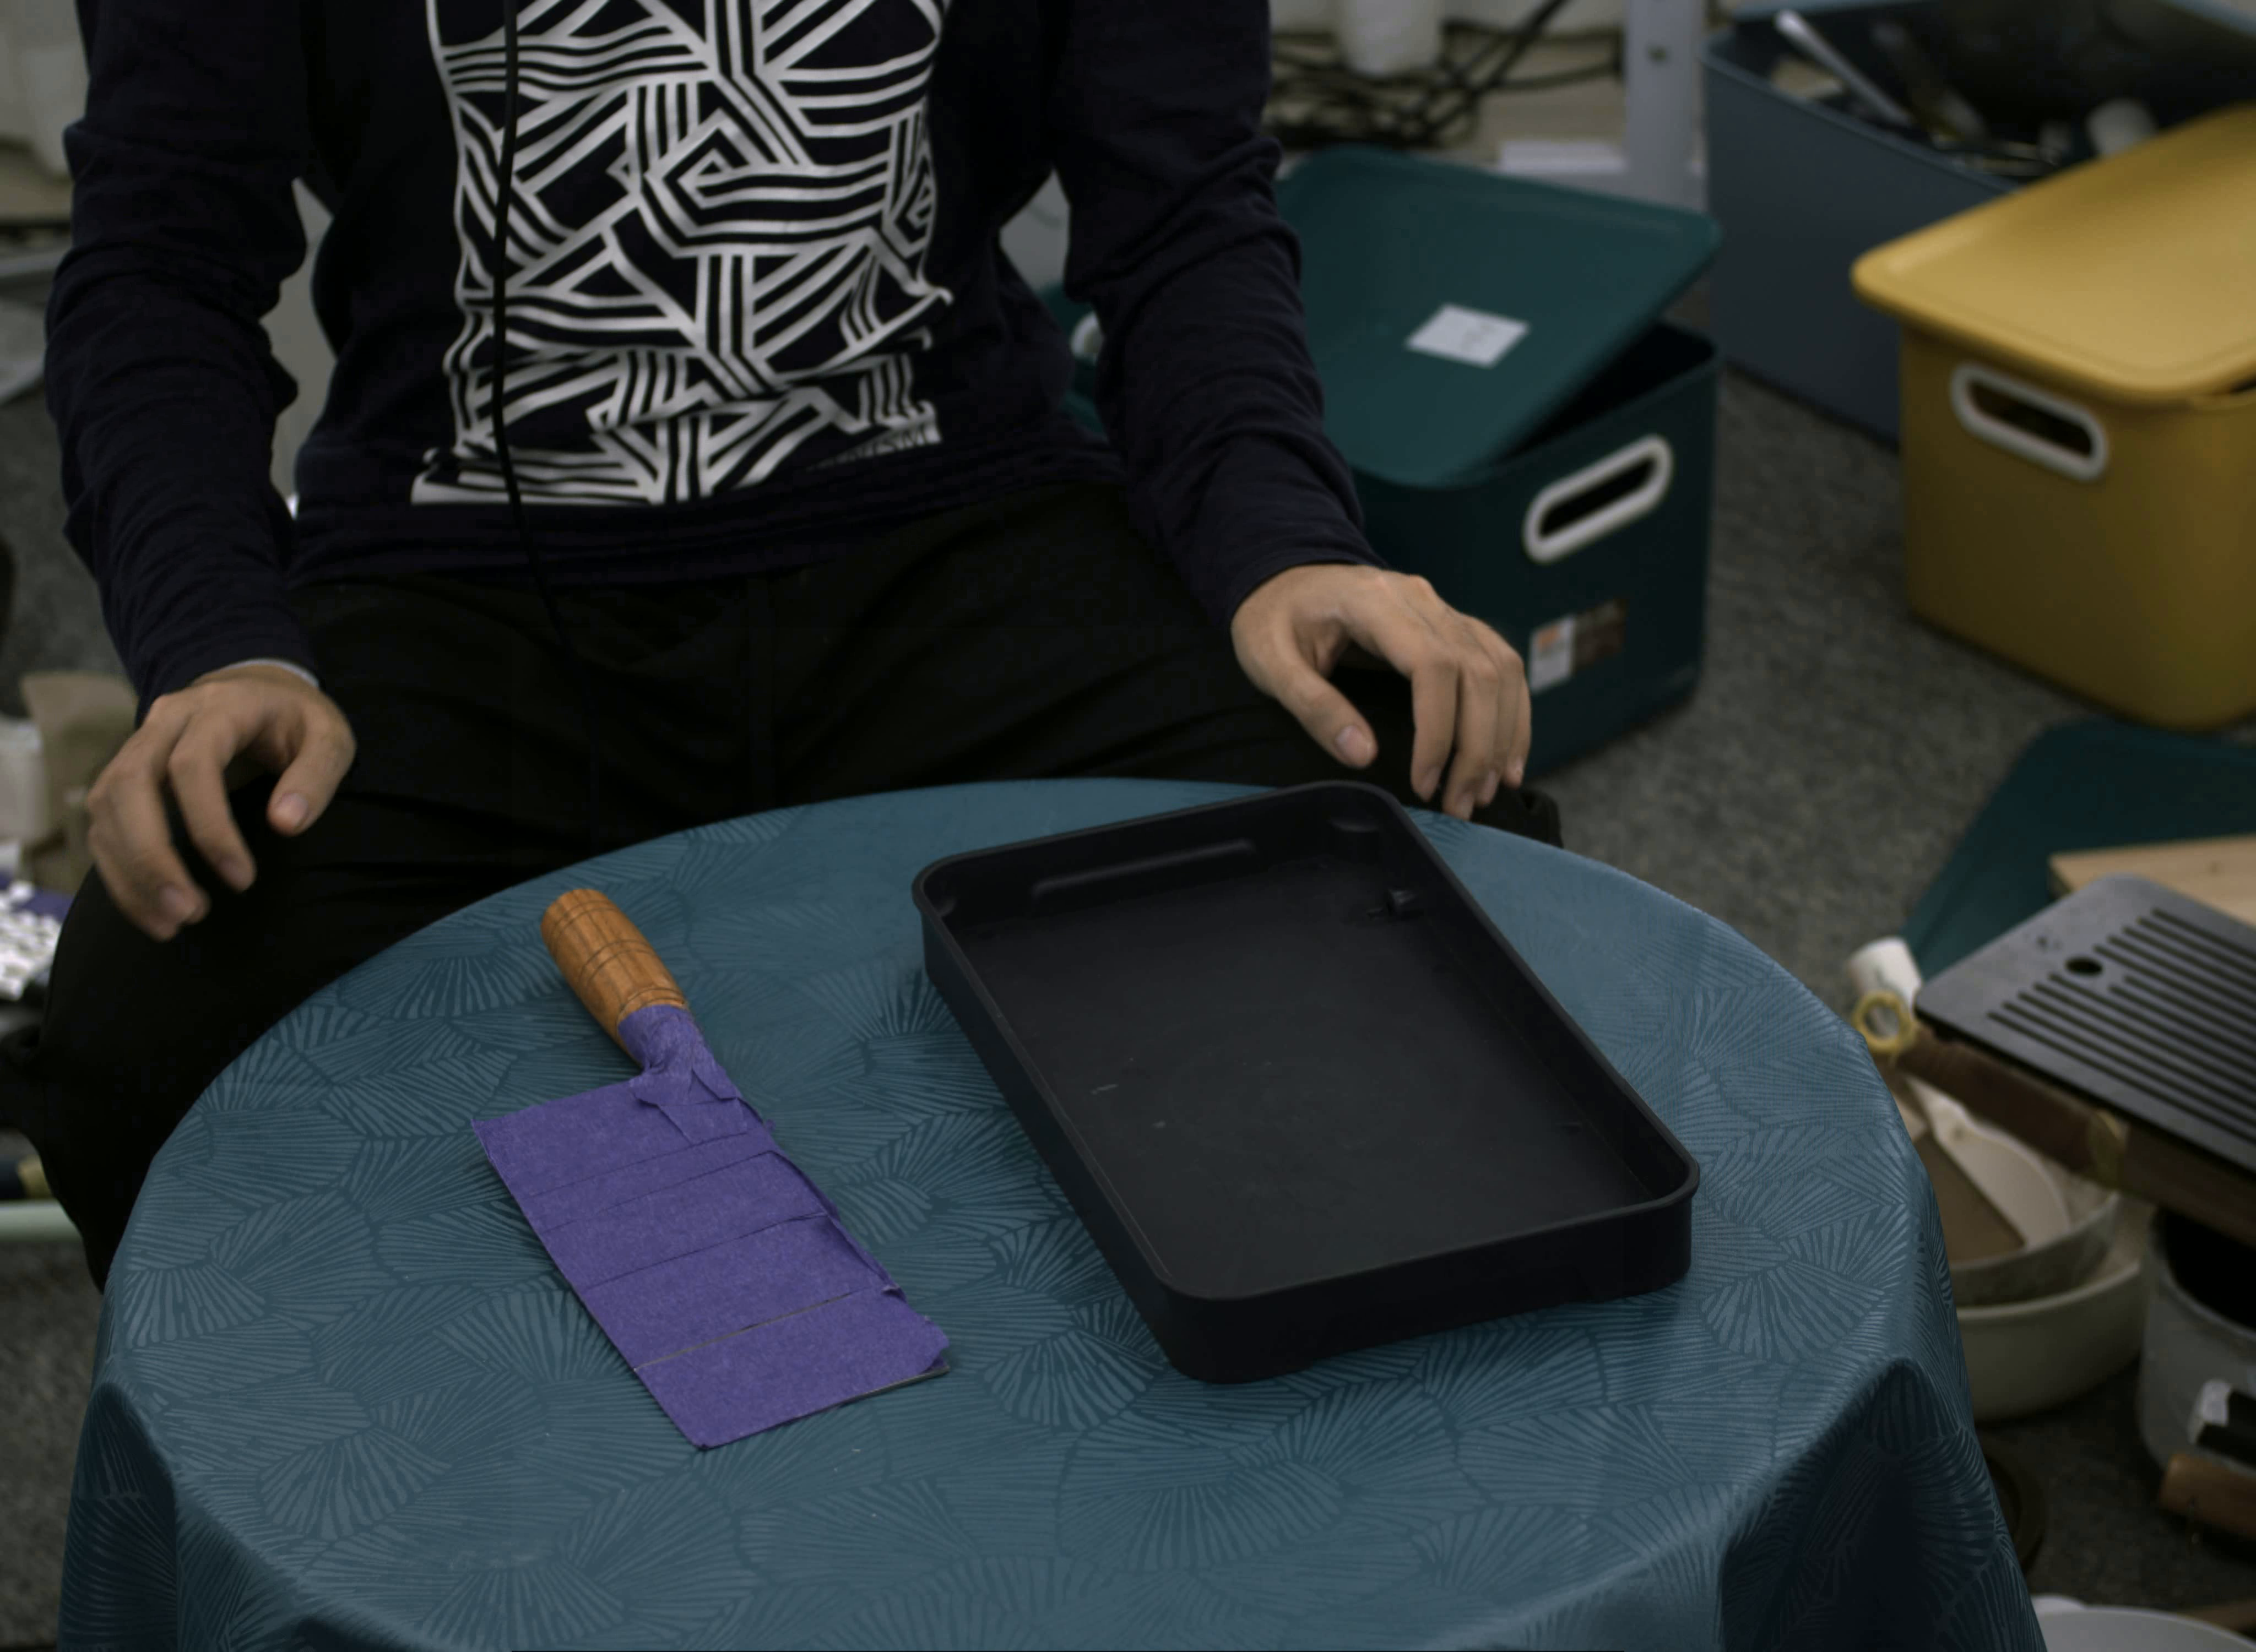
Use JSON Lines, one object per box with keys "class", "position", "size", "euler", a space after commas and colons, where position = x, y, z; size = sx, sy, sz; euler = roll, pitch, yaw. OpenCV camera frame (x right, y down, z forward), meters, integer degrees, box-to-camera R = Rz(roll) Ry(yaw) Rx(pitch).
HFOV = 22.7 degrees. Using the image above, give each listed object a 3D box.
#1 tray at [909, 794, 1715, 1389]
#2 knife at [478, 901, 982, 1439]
{"class": "tray", "position": [0.055, 0.083, 1.896], "size": [0.184, 0.036, 0.320], "euler": [-12, 27, -16]}
{"class": "knife", "position": [-0.159, 0.110, 1.870], "size": [0.104, 0.032, 0.317], "euler": [-15, 30, -22]}
